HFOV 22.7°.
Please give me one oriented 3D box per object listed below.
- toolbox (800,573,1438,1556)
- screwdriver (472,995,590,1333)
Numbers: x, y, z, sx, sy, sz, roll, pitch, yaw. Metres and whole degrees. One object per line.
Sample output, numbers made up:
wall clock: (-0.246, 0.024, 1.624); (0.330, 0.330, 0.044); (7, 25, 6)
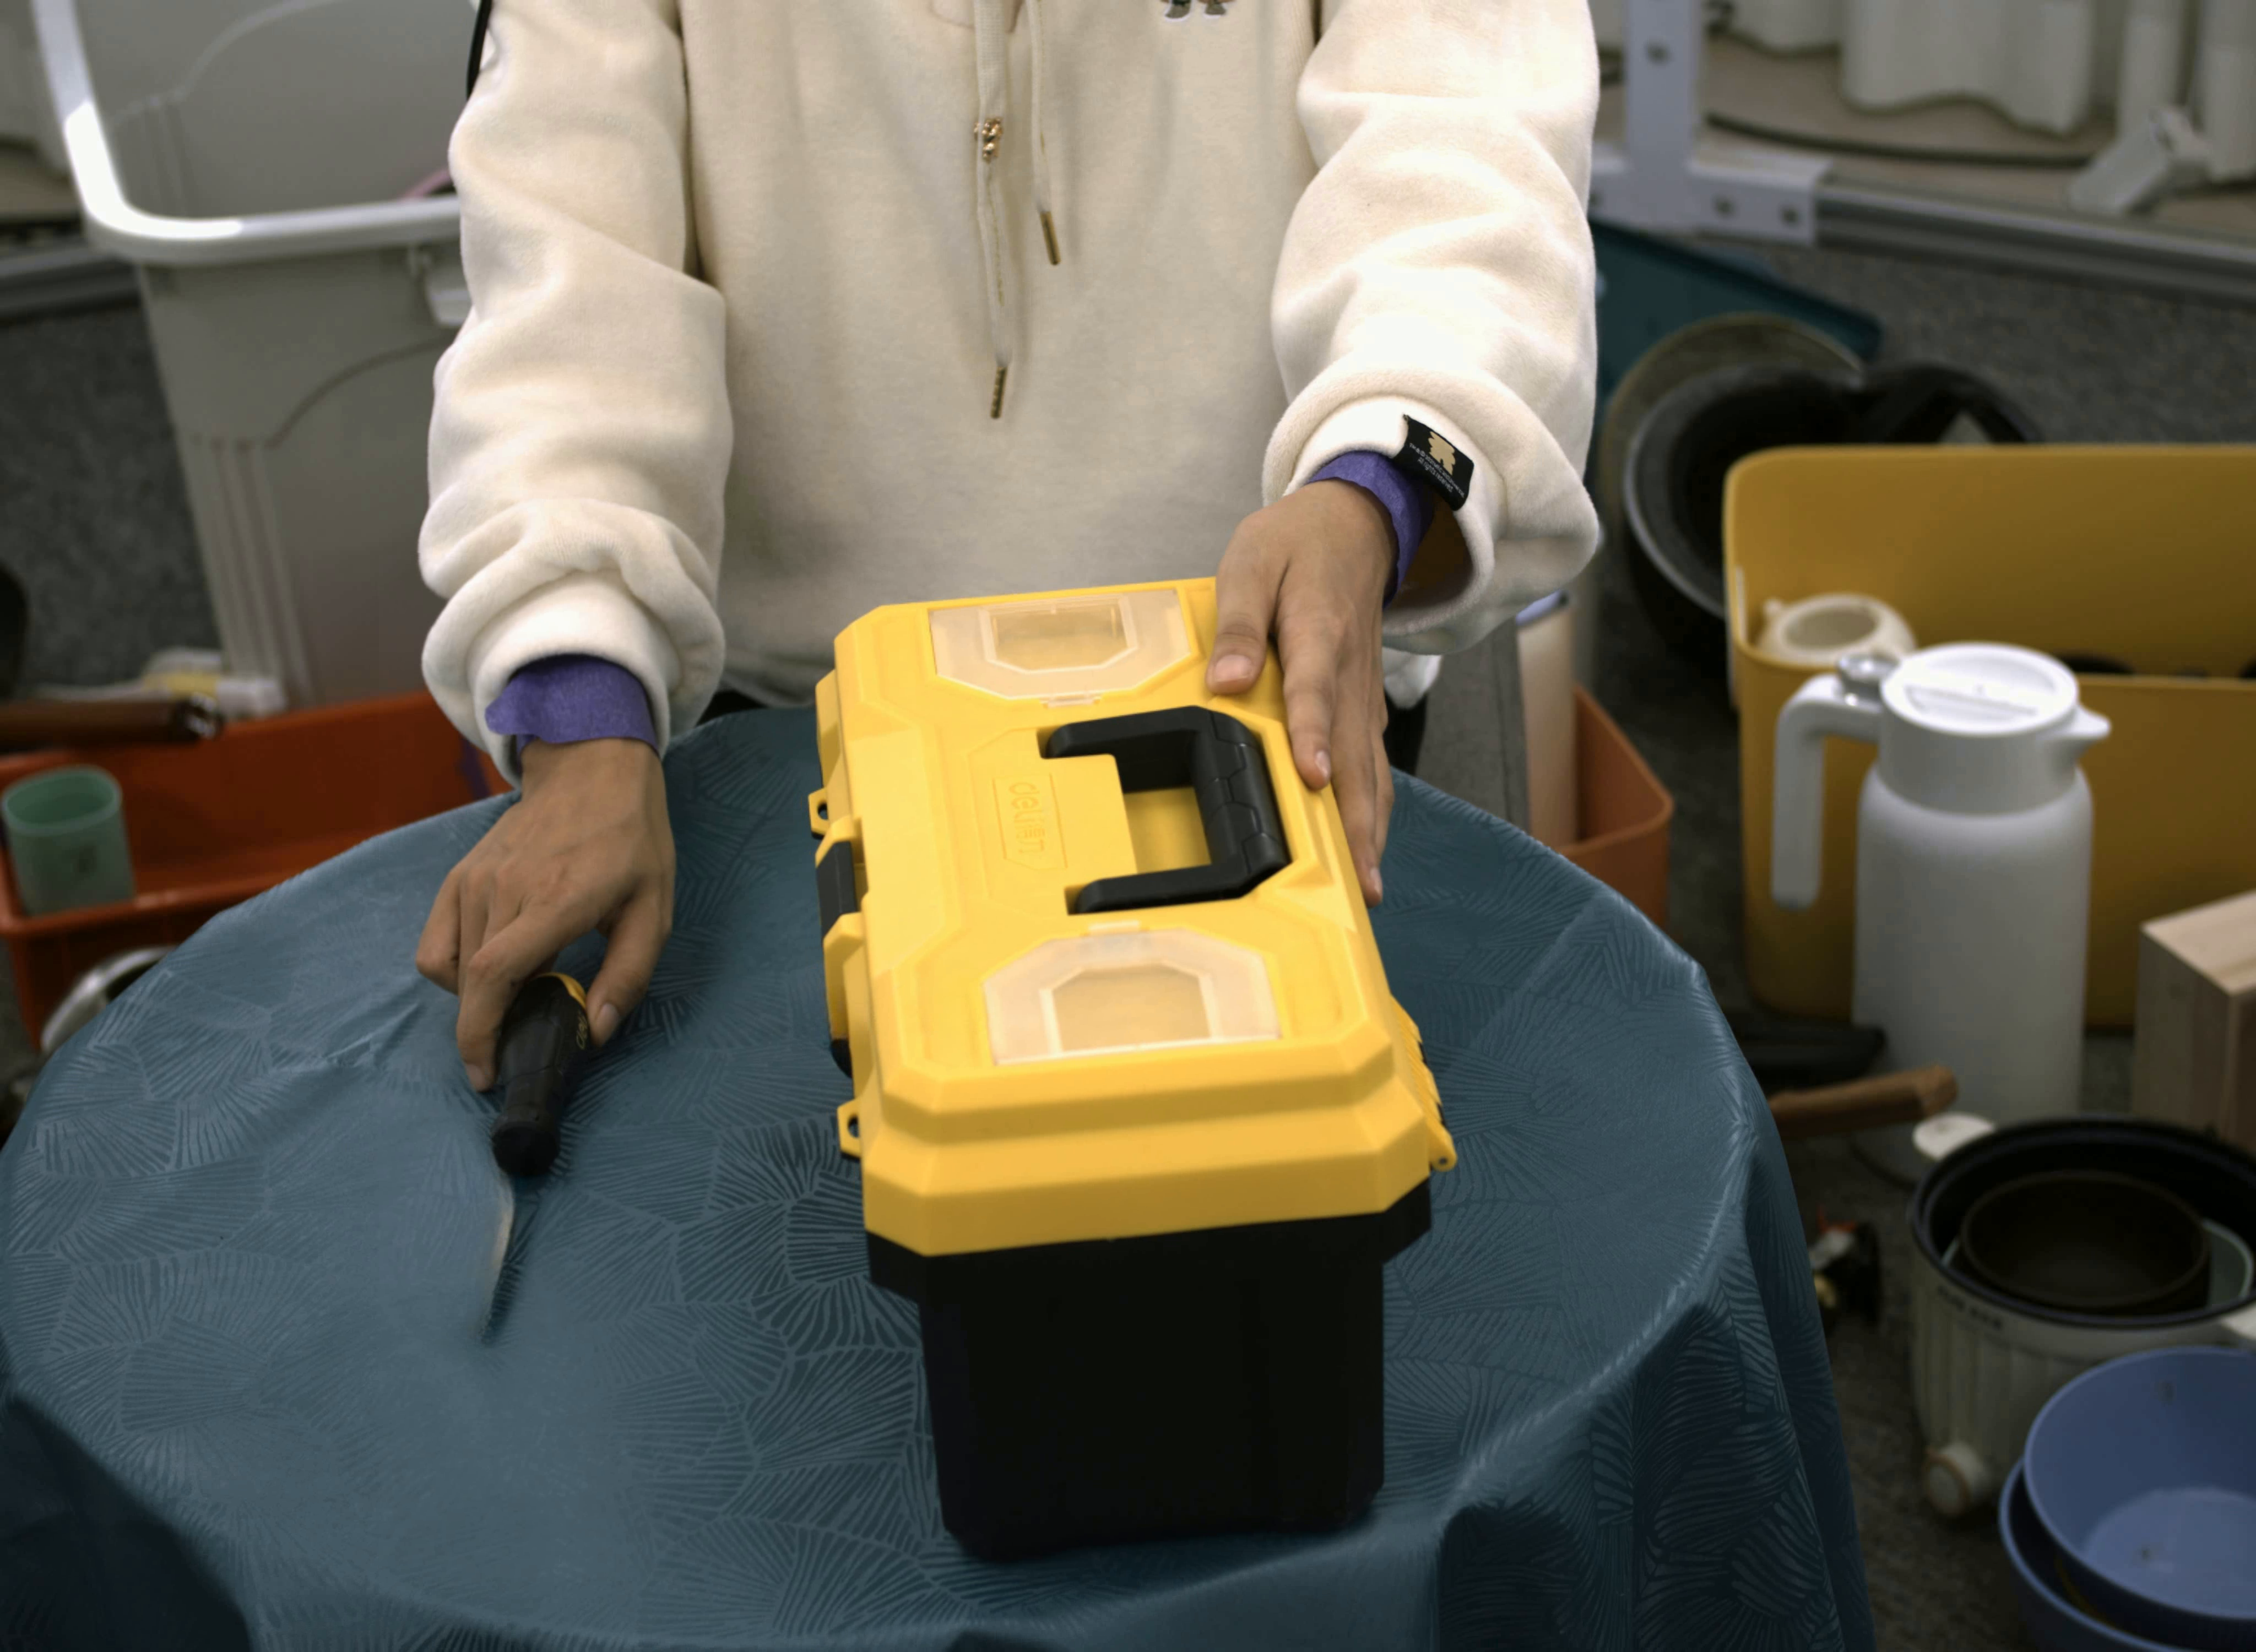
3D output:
toolbox: (-0.007, 0.068, 1.779); (0.180, 0.171, 0.356); (-5, 27, -3)
screwdriver: (-0.204, 0.117, 1.882); (0.031, 0.031, 0.201); (-1, 31, 3)
